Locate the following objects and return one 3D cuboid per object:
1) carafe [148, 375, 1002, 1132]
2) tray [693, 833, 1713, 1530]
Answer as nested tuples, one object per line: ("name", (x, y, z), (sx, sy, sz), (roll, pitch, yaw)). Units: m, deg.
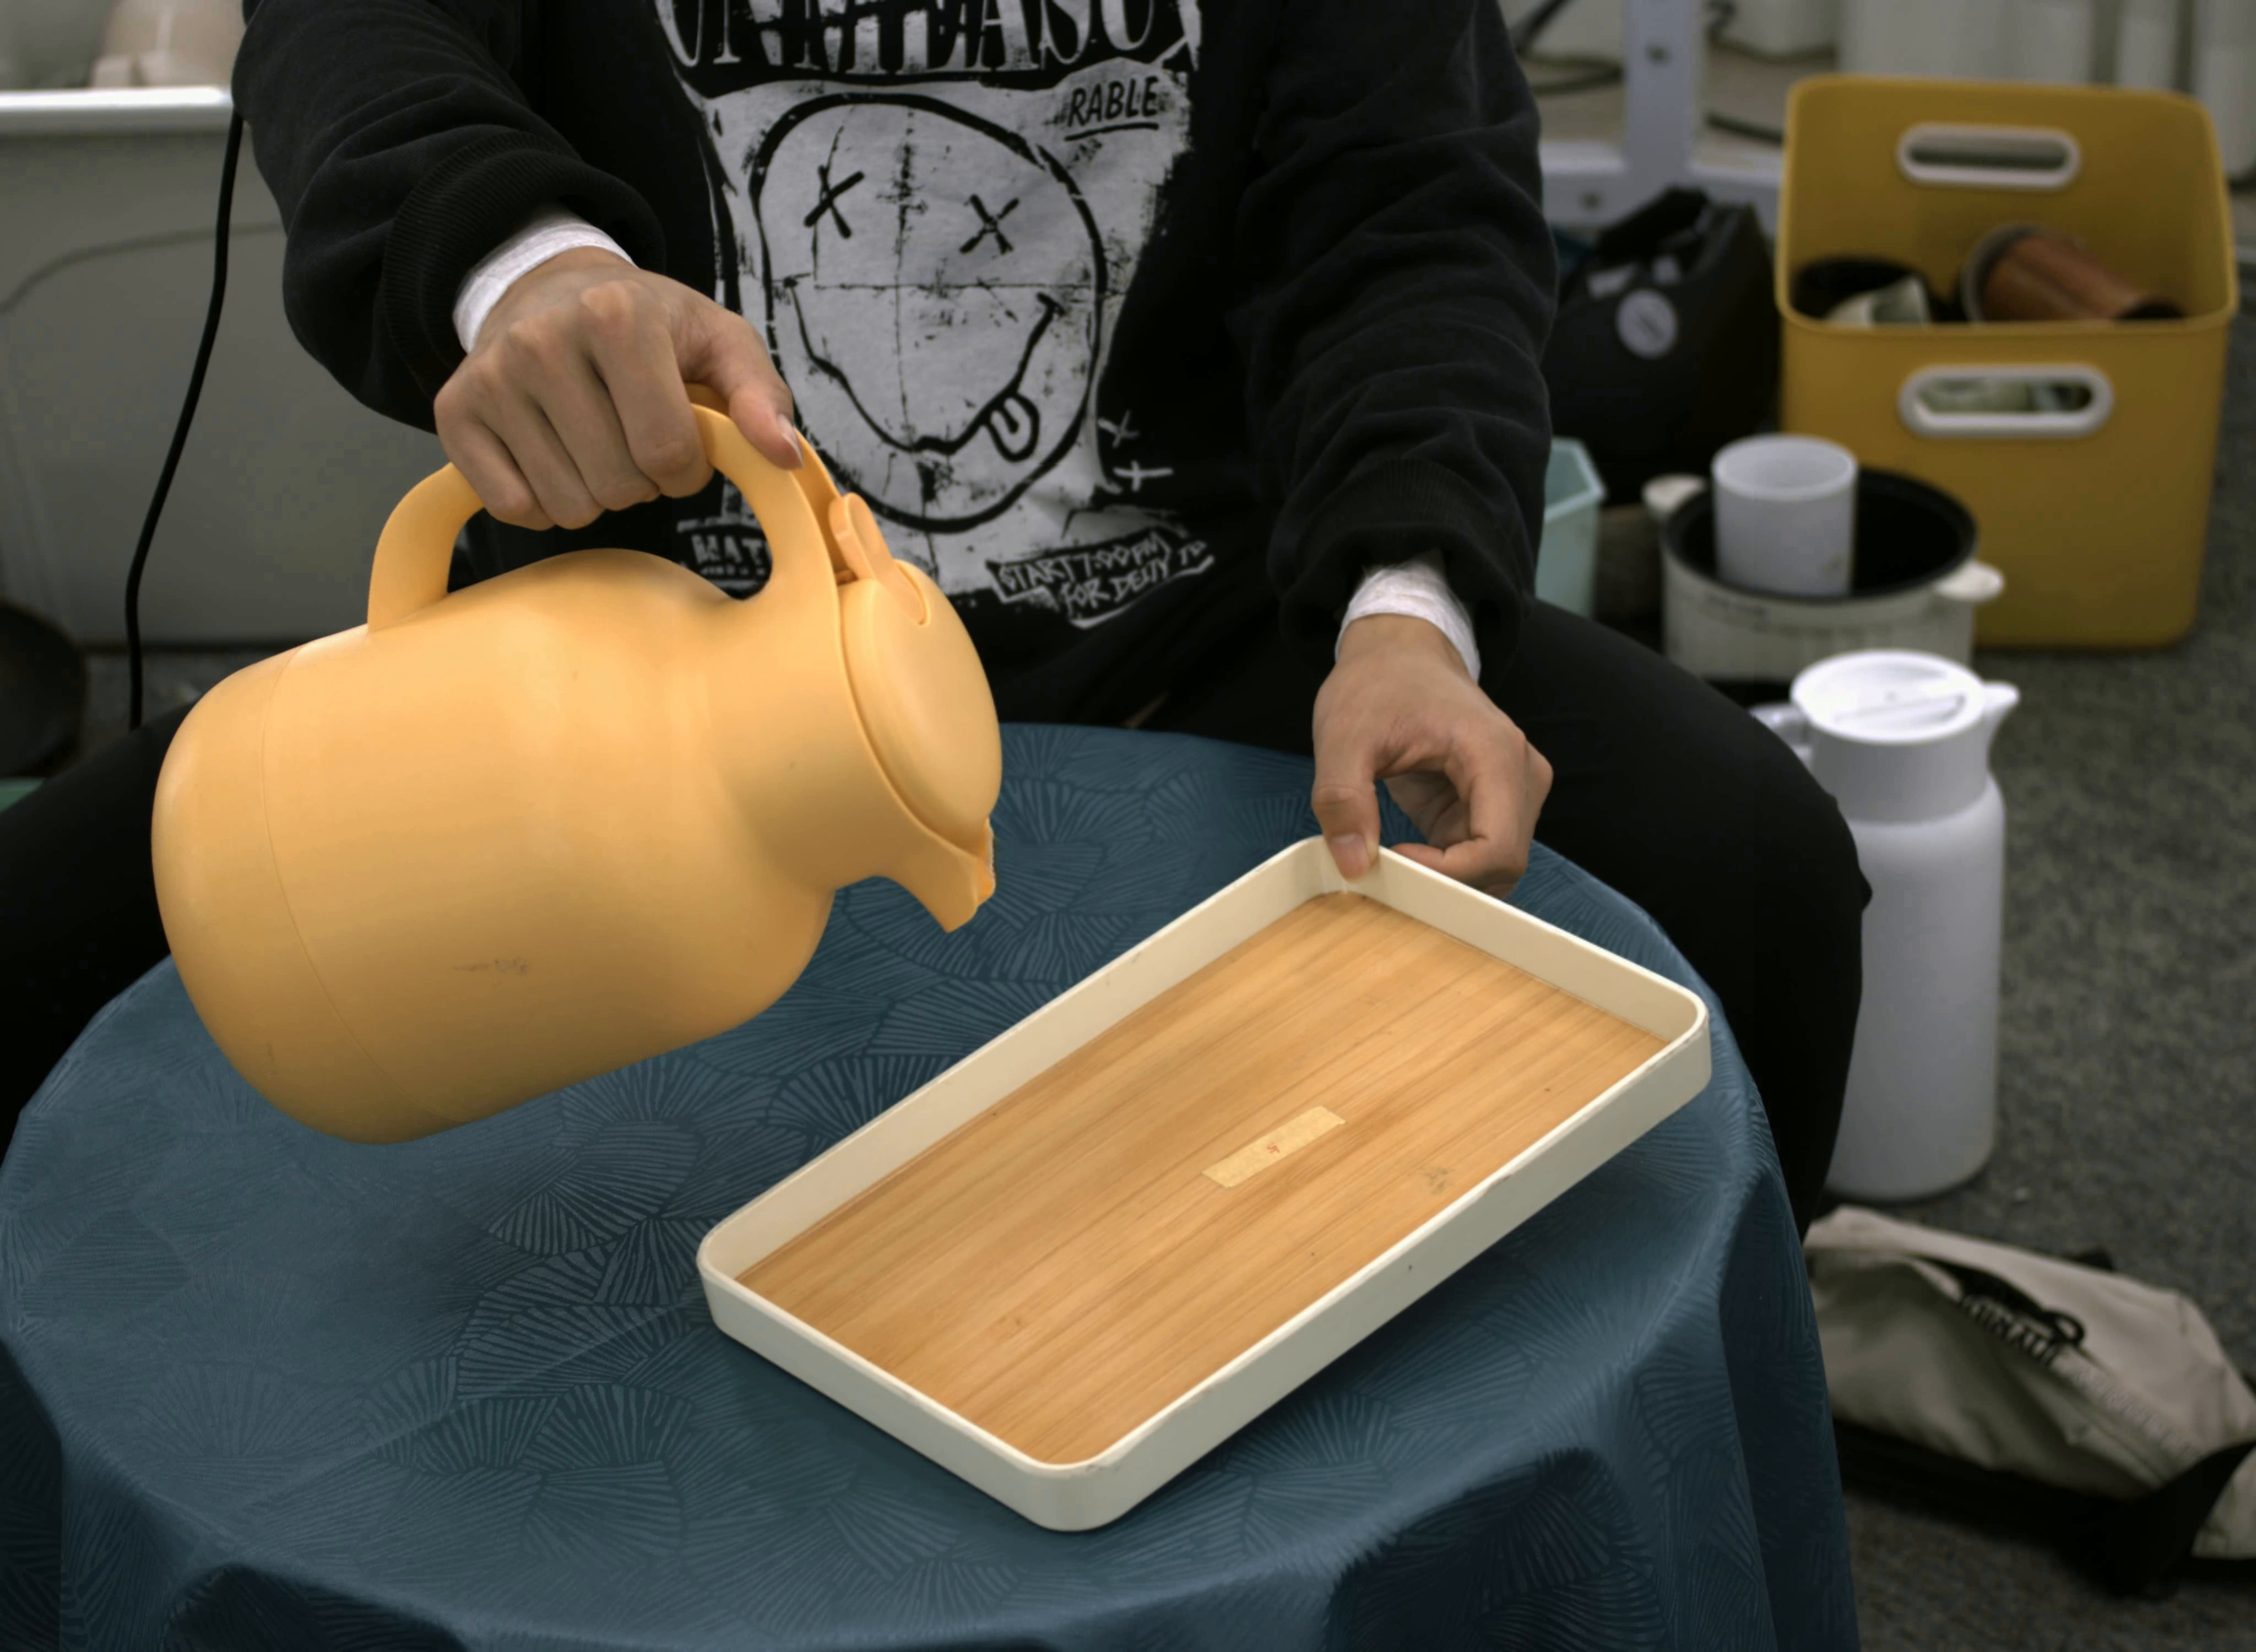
("carafe", (-0.176, -0.026, 1.777), (0.258, 0.202, 0.165), (-18, 7, 17))
("tray", (0.026, 0.108, 1.813), (0.304, 0.027, 0.191), (-32, 39, -32))
